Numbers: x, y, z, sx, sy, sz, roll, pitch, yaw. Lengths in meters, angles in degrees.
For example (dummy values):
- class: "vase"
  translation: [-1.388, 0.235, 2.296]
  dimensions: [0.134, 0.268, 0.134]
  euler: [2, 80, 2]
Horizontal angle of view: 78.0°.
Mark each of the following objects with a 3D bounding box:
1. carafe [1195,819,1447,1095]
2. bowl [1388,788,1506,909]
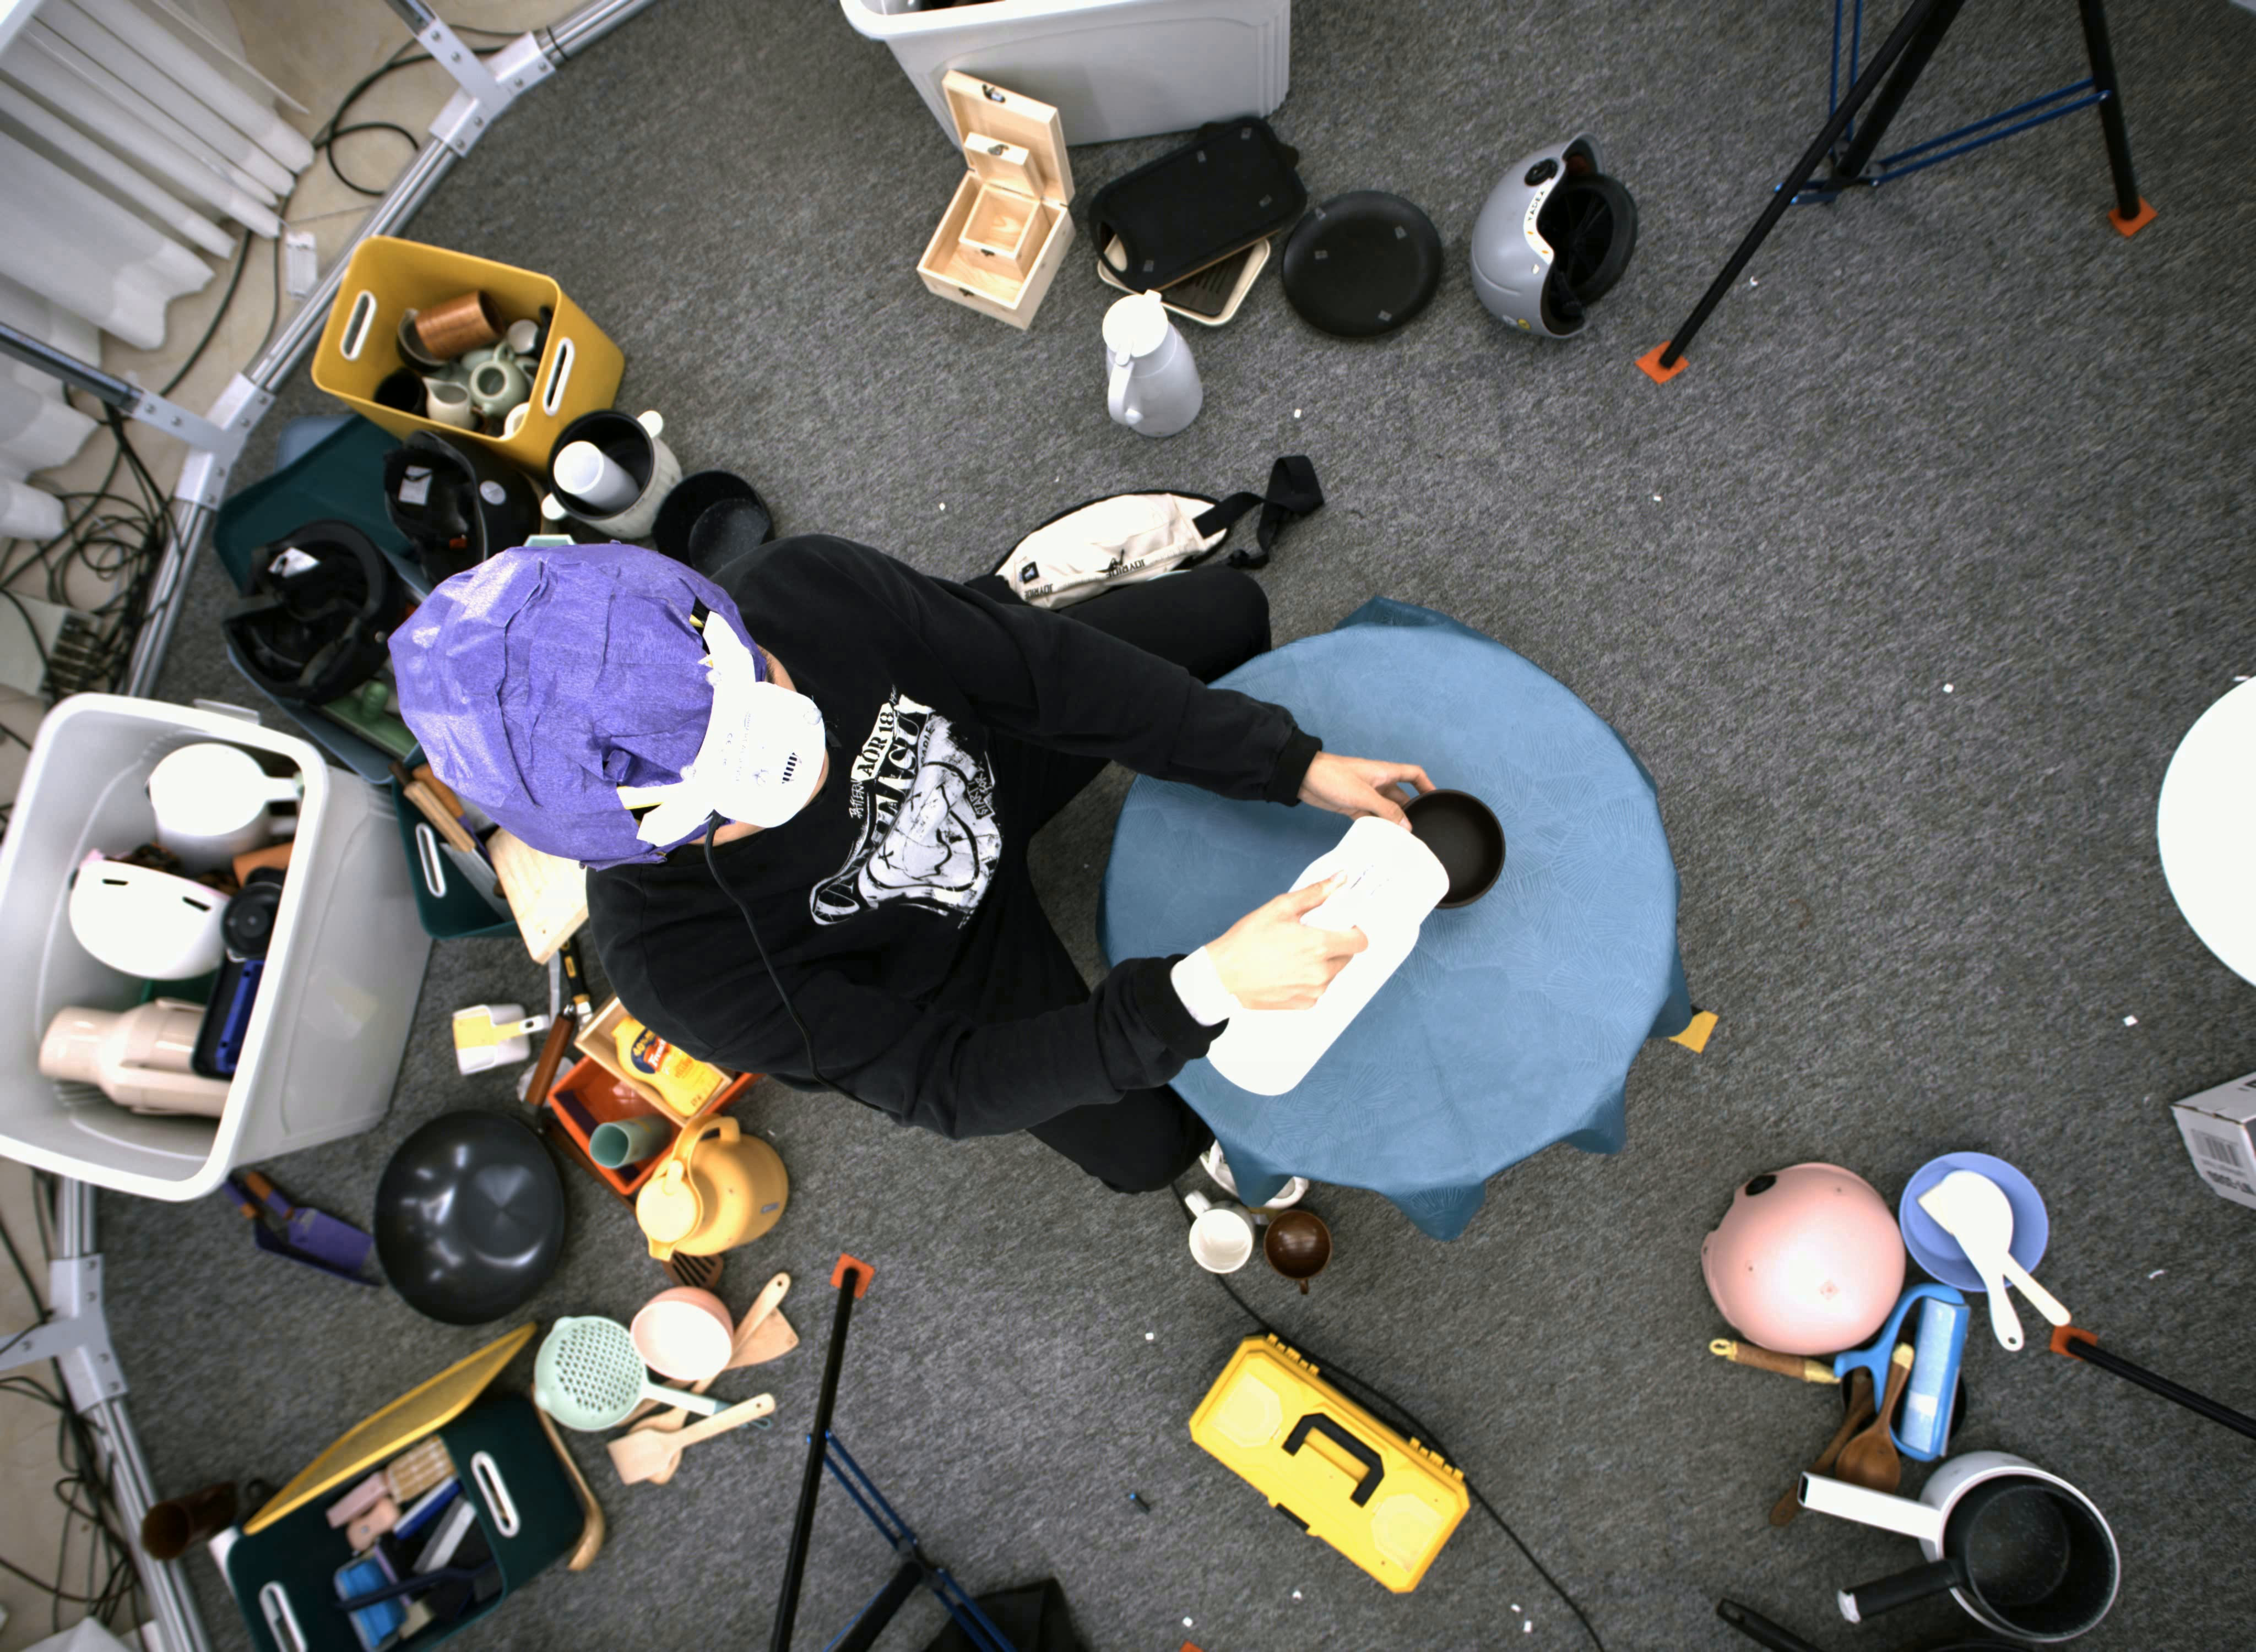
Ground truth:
- class: "carafe"
  translation: [0.164, 0.126, 1.241]
  dimensions: [0.123, 0.169, 0.275]
  euler: [44, 126, 12]
- class: "bowl"
  translation: [0.311, 0.022, 1.359]
  dimensions: [0.118, 0.070, 0.117]
  euler: [0, 88, 9]
